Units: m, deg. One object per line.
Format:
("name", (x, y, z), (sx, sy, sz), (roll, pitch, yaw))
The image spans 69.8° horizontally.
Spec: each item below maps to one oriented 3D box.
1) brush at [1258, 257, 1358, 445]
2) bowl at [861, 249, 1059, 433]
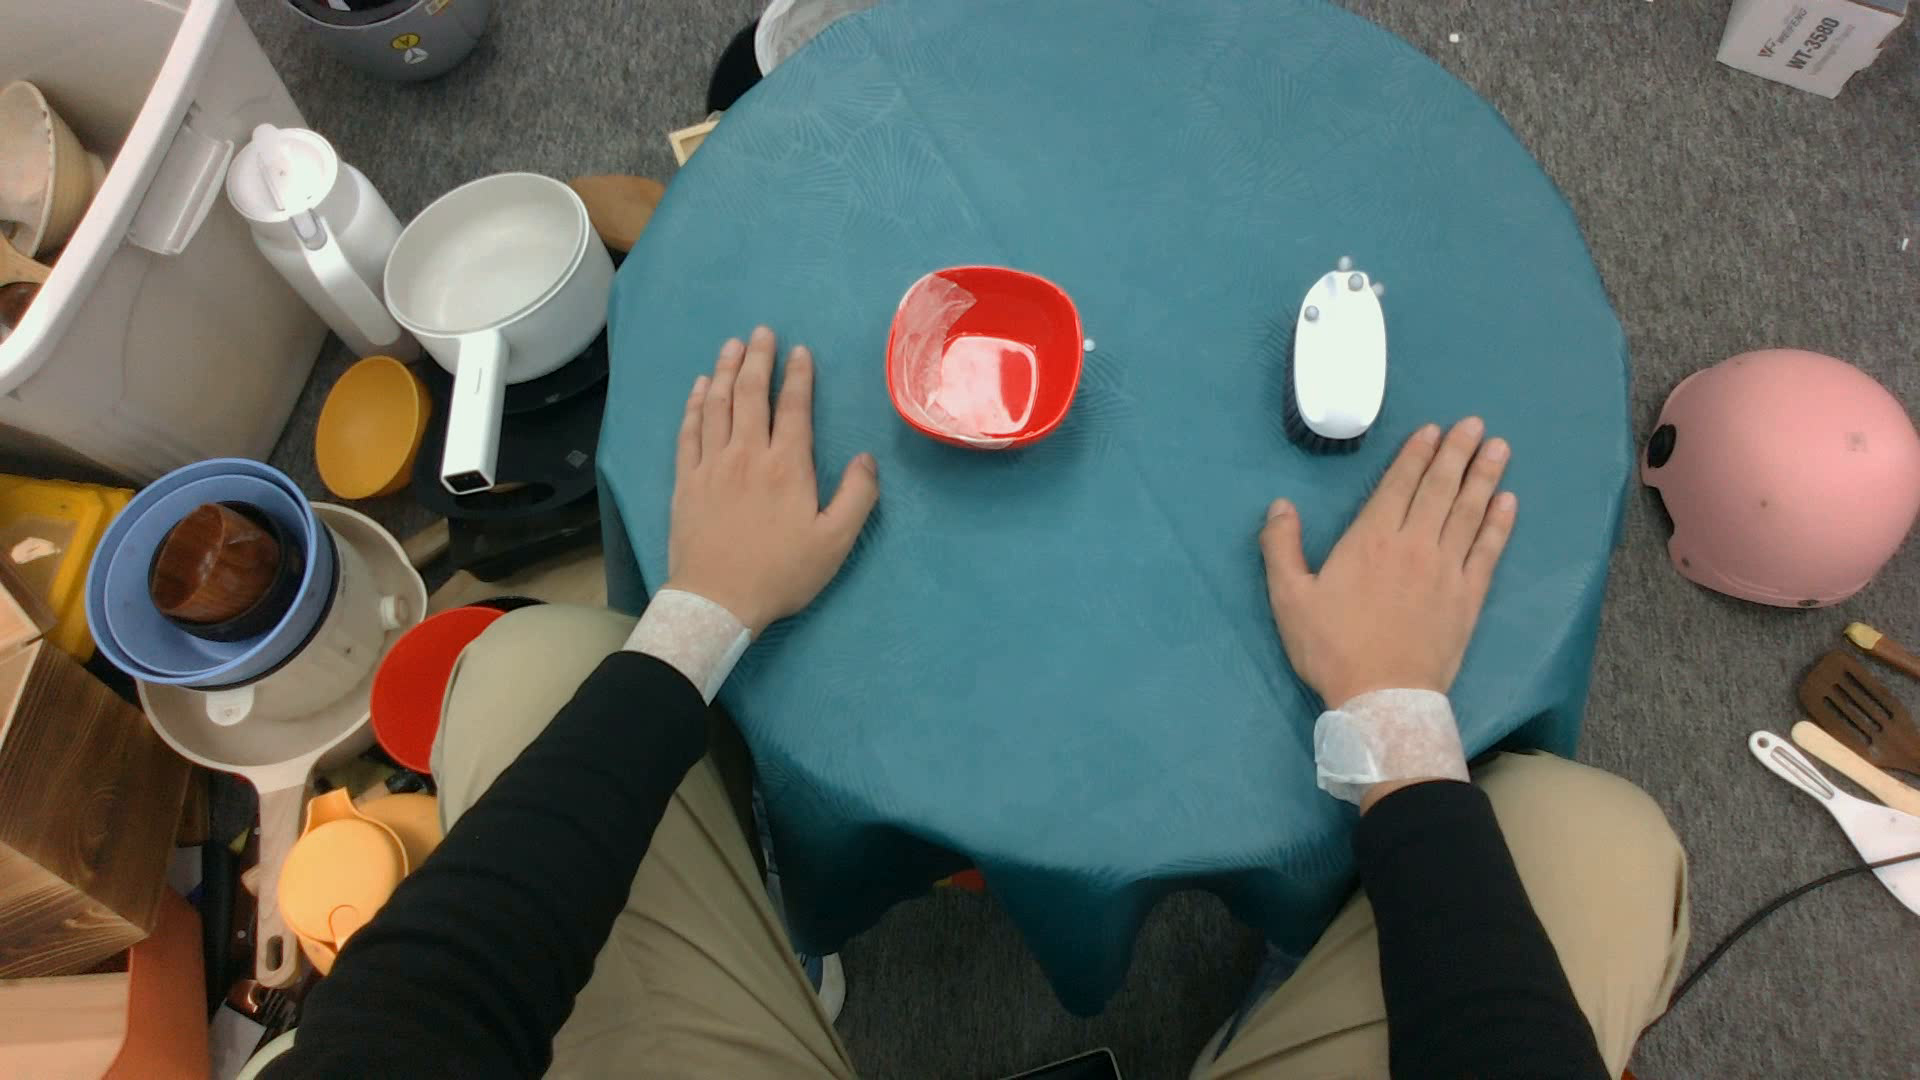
("brush", (0.201, -0.113, 0.778), (0.050, 0.072, 0.099), (7, 71, 3))
("bowl", (0.000, -0.106, 0.788), (0.119, 0.051, 0.119), (0, 69, -1))
